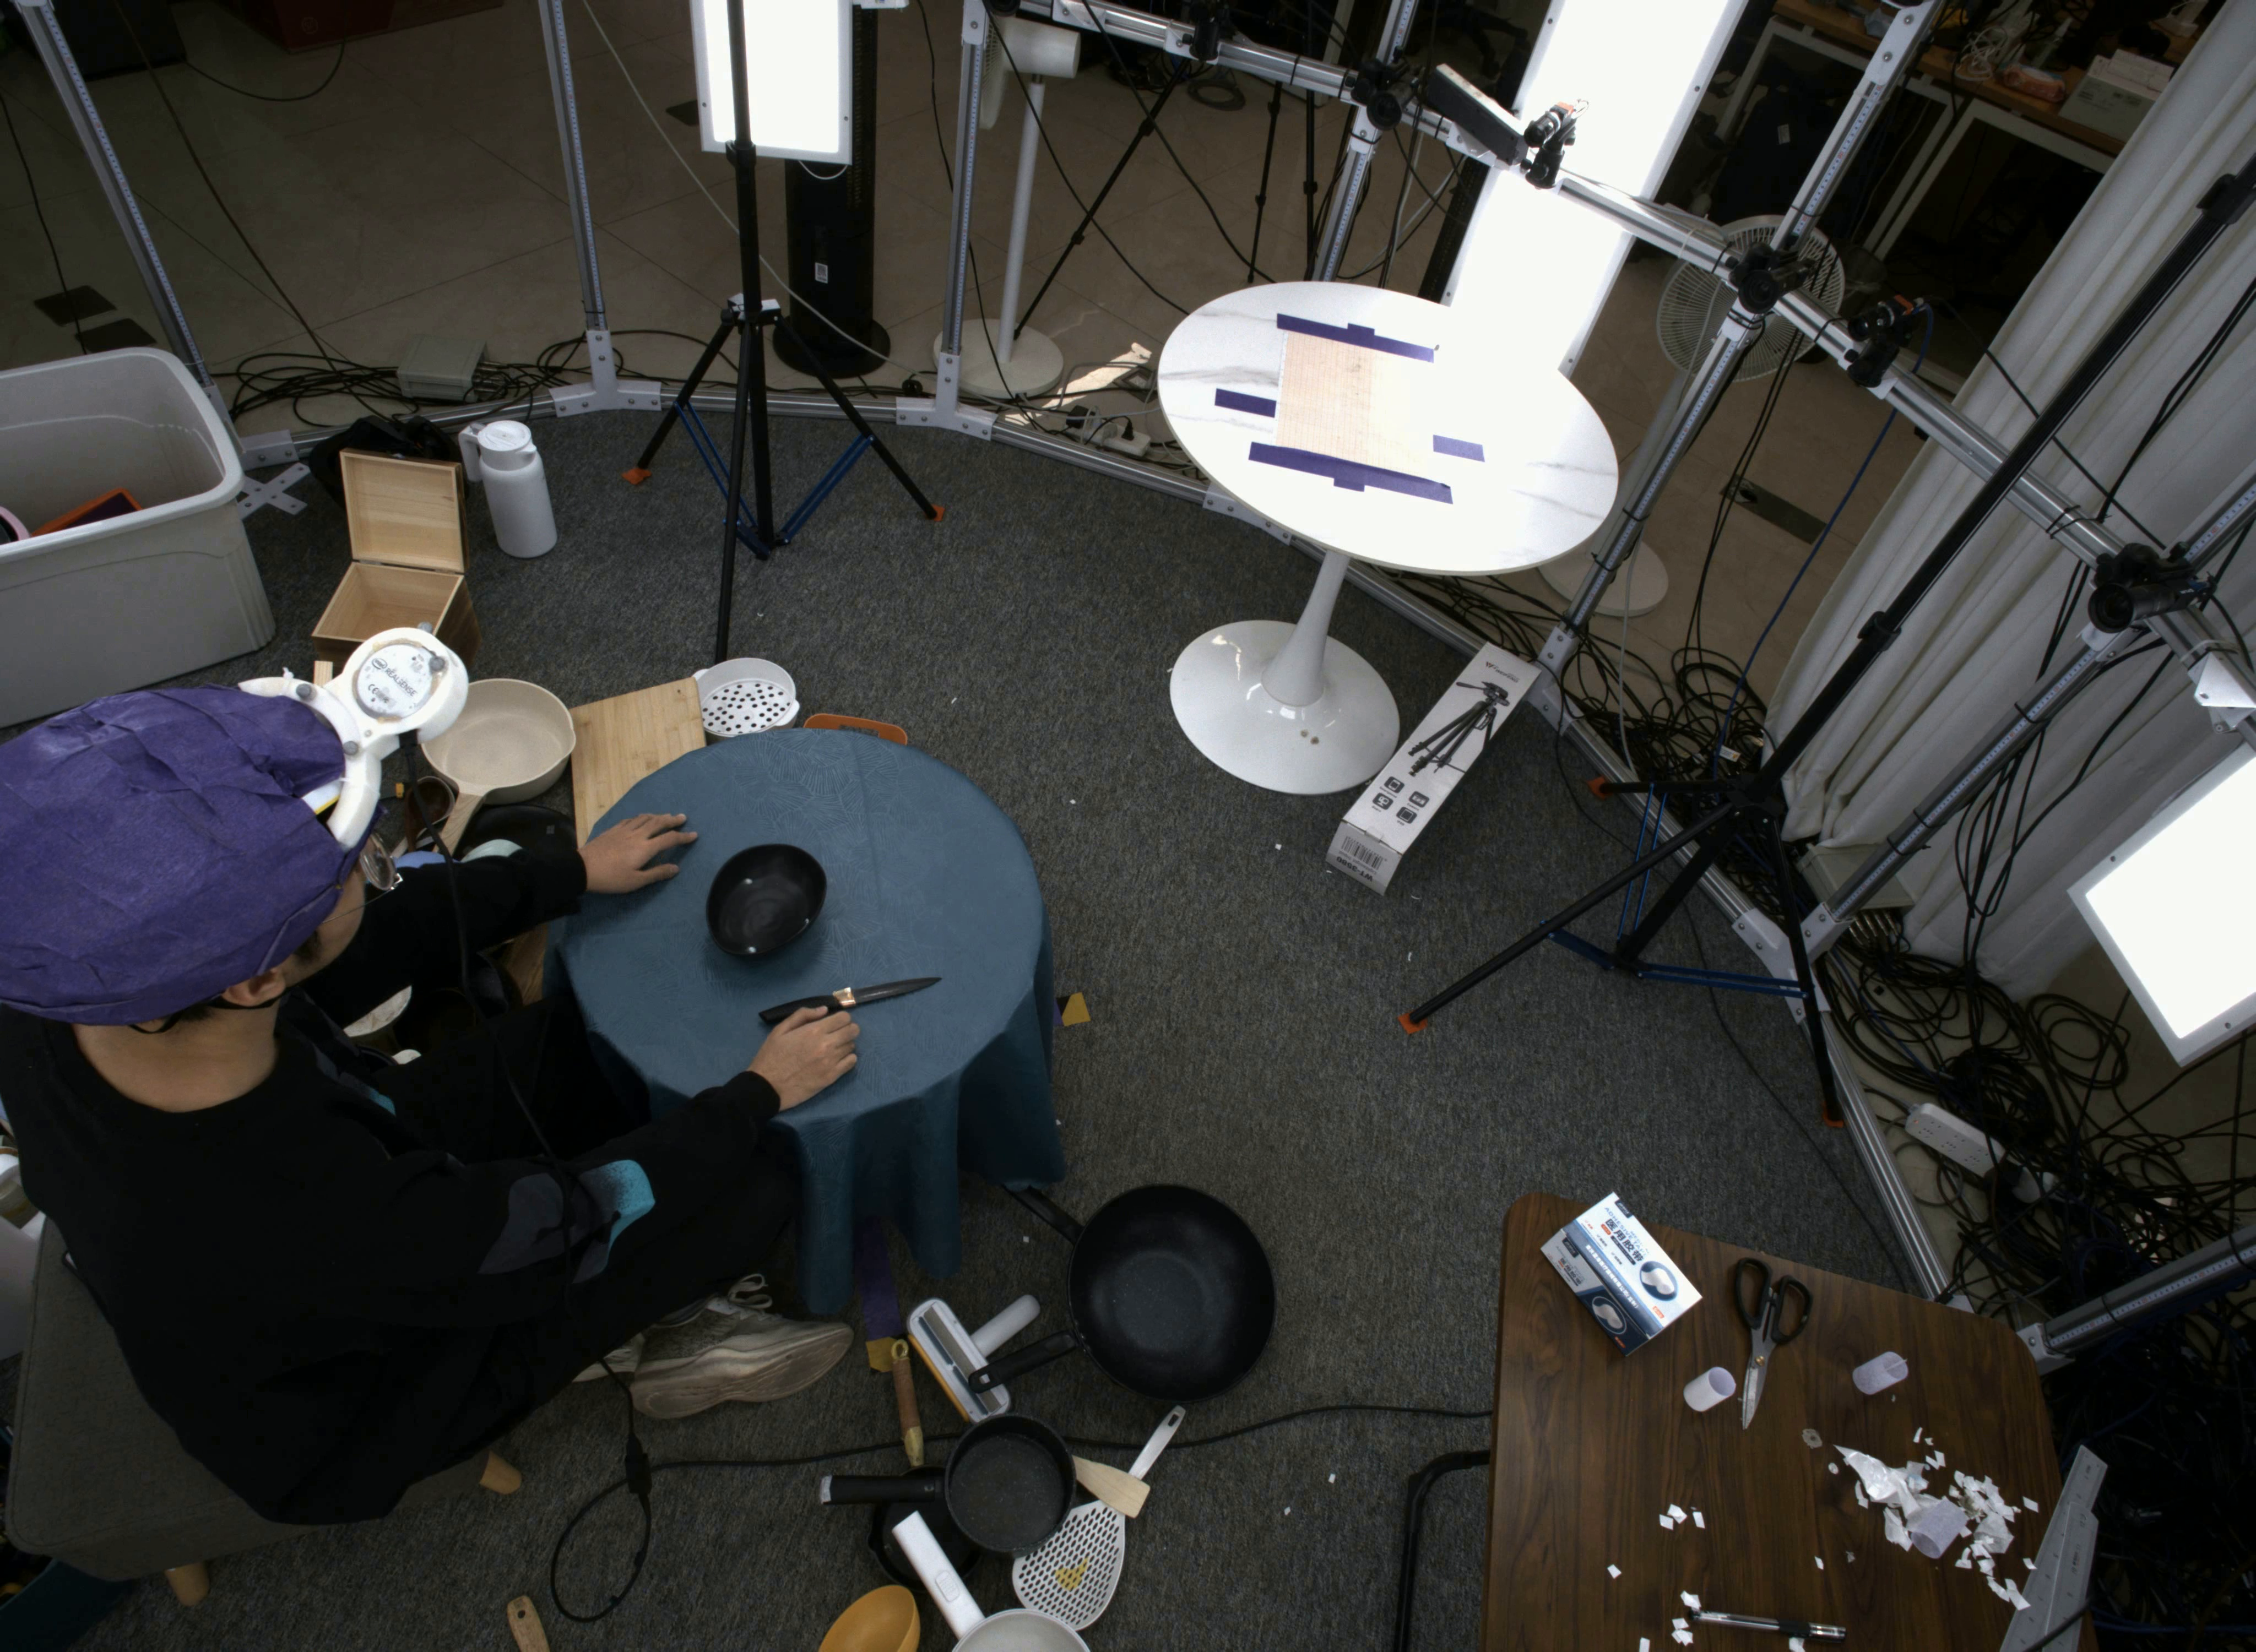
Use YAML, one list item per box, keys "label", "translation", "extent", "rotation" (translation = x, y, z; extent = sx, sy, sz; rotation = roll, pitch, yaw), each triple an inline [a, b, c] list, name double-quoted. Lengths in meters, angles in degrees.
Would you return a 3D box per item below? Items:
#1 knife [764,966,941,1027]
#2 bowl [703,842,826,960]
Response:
- label: "knife"
  translation: [-0.332, 0.203, 1.578]
  extent: [0.227, 0.017, 0.025]
  rotation: [-13, 62, -25]
- label: "bowl"
  translation: [-0.445, 0.100, 1.591]
  extent: [0.136, 0.068, 0.169]
  rotation: [22, 53, 3]
